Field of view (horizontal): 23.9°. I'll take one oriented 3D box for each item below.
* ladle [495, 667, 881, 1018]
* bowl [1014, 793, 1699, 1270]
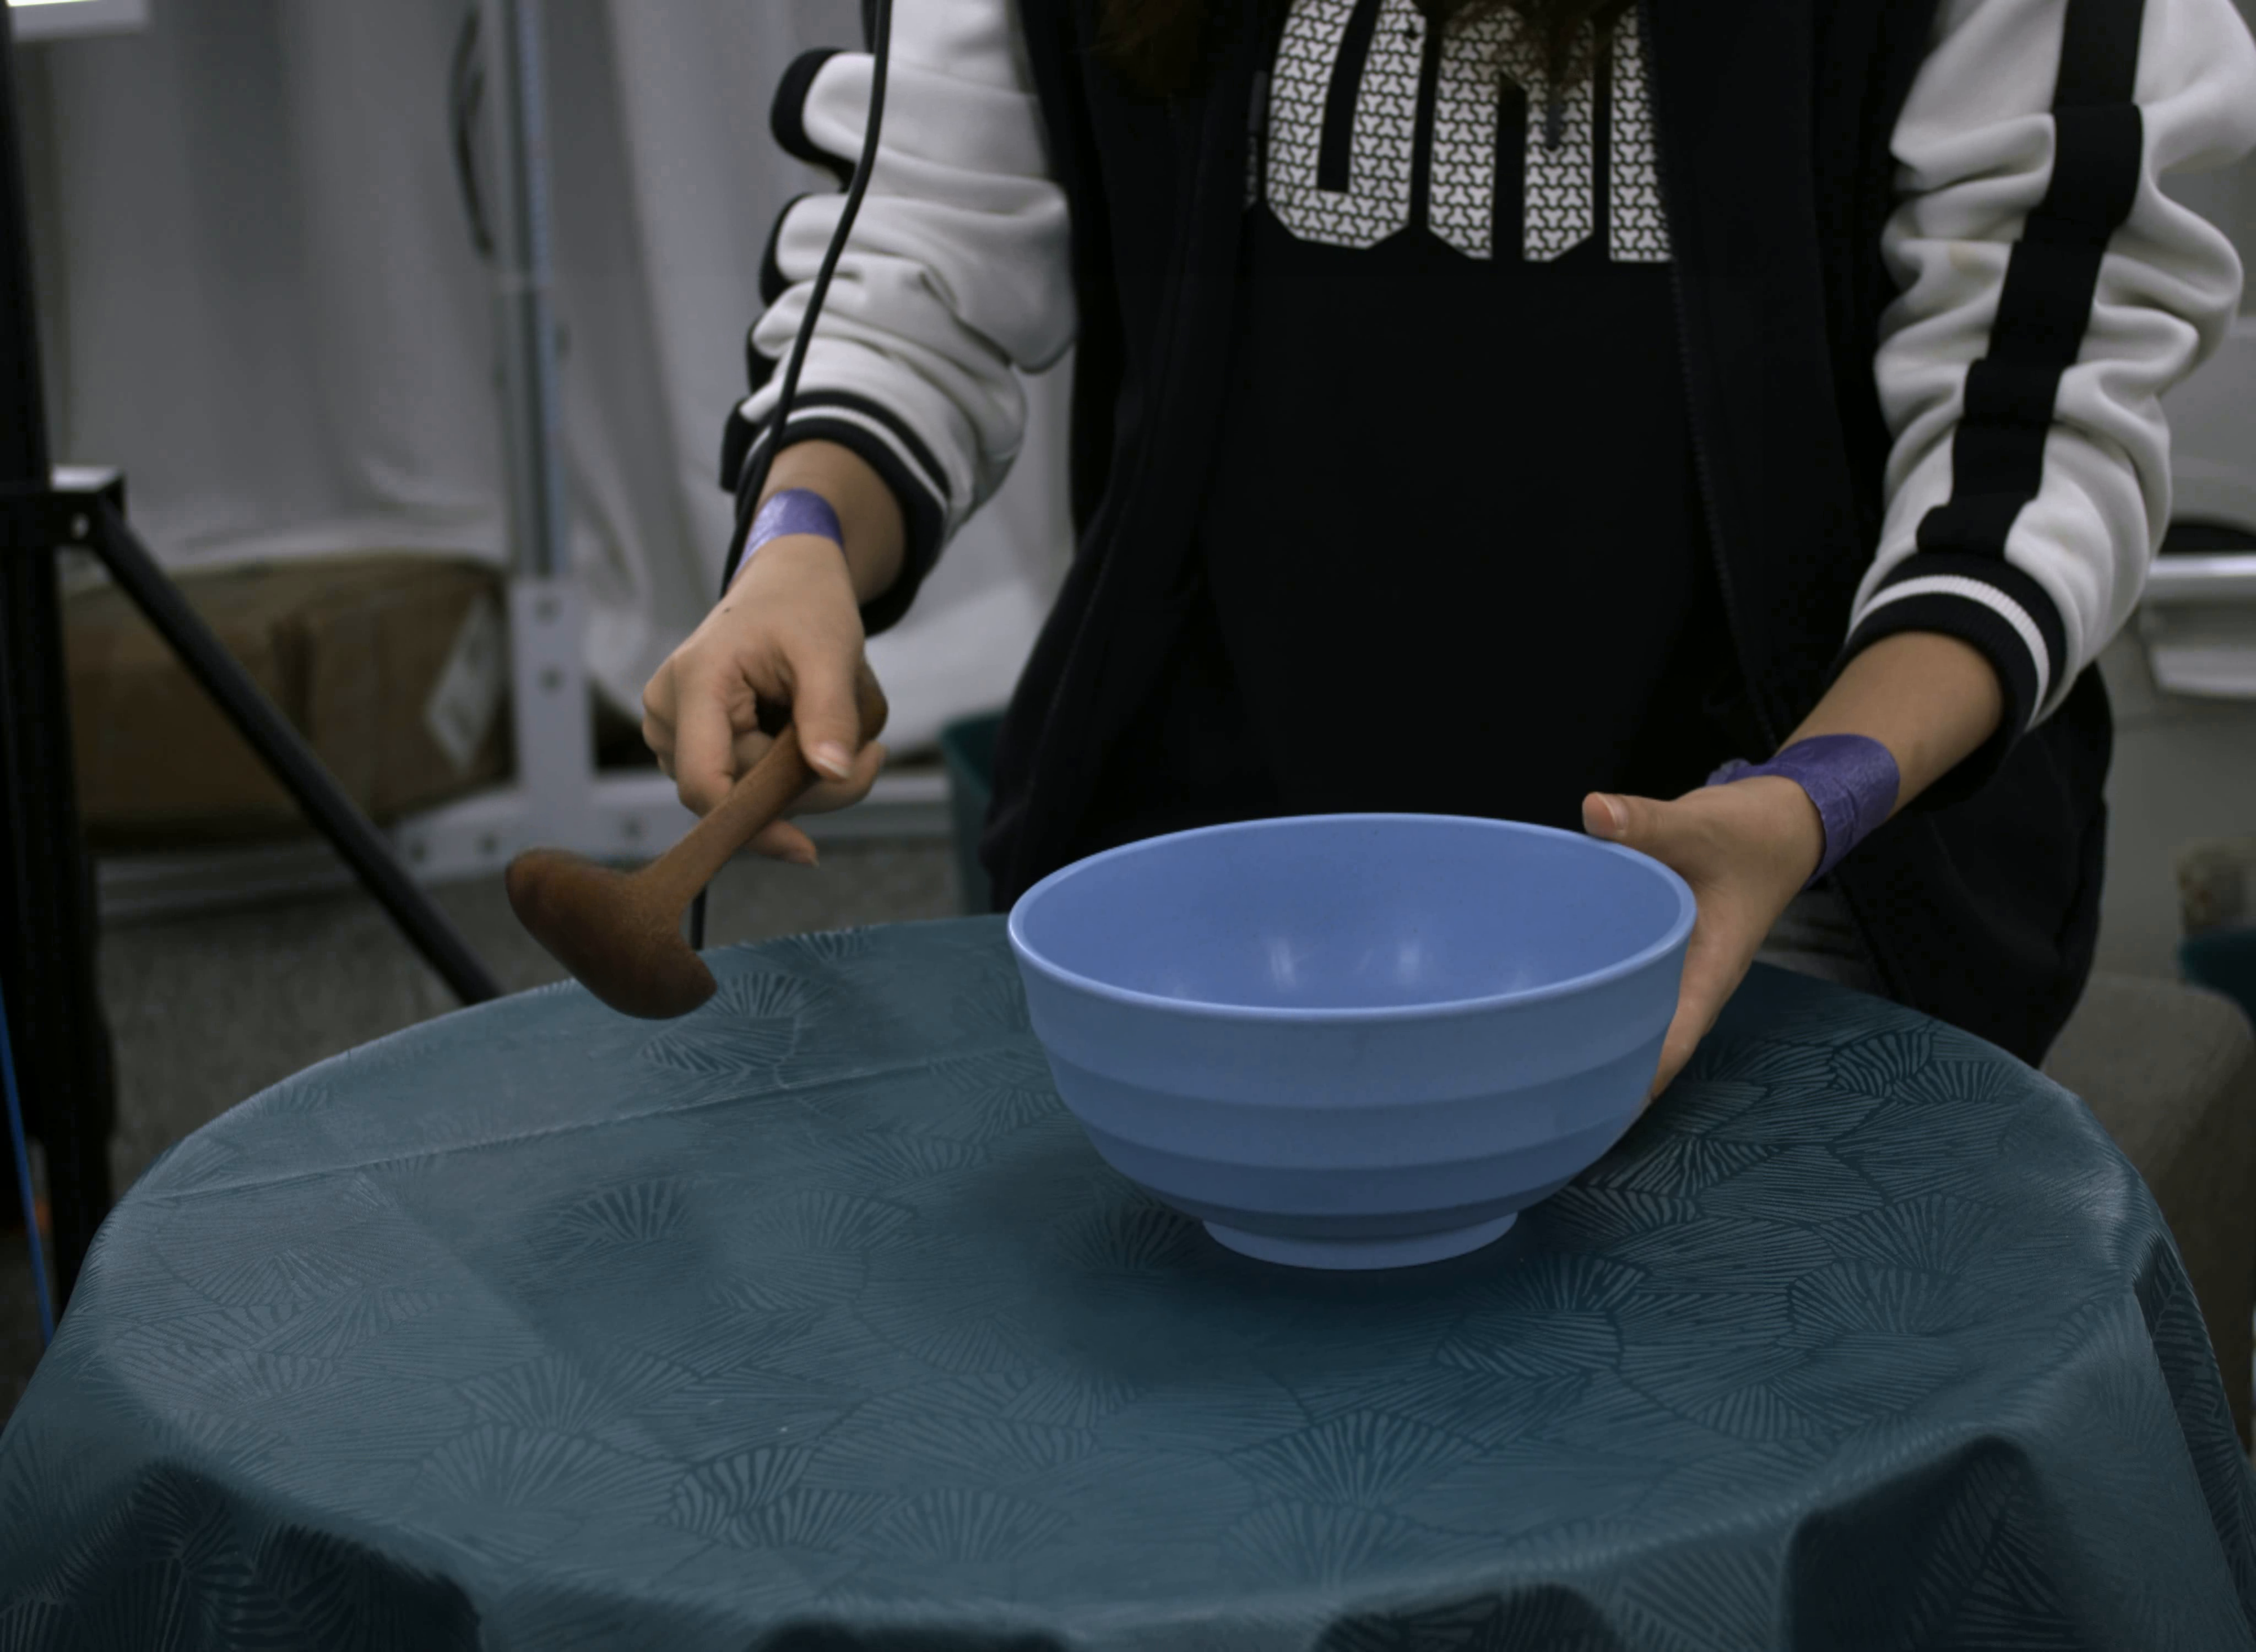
[{"bbox_3d":[-0.119,-0.010,1.639,0.066,0.076,0.257,-43,1,31],"label":"ladle"},{"bbox_3d":[0.071,0.066,1.522,0.196,0.095,0.197,-8,17,1],"label":"bowl"}]
